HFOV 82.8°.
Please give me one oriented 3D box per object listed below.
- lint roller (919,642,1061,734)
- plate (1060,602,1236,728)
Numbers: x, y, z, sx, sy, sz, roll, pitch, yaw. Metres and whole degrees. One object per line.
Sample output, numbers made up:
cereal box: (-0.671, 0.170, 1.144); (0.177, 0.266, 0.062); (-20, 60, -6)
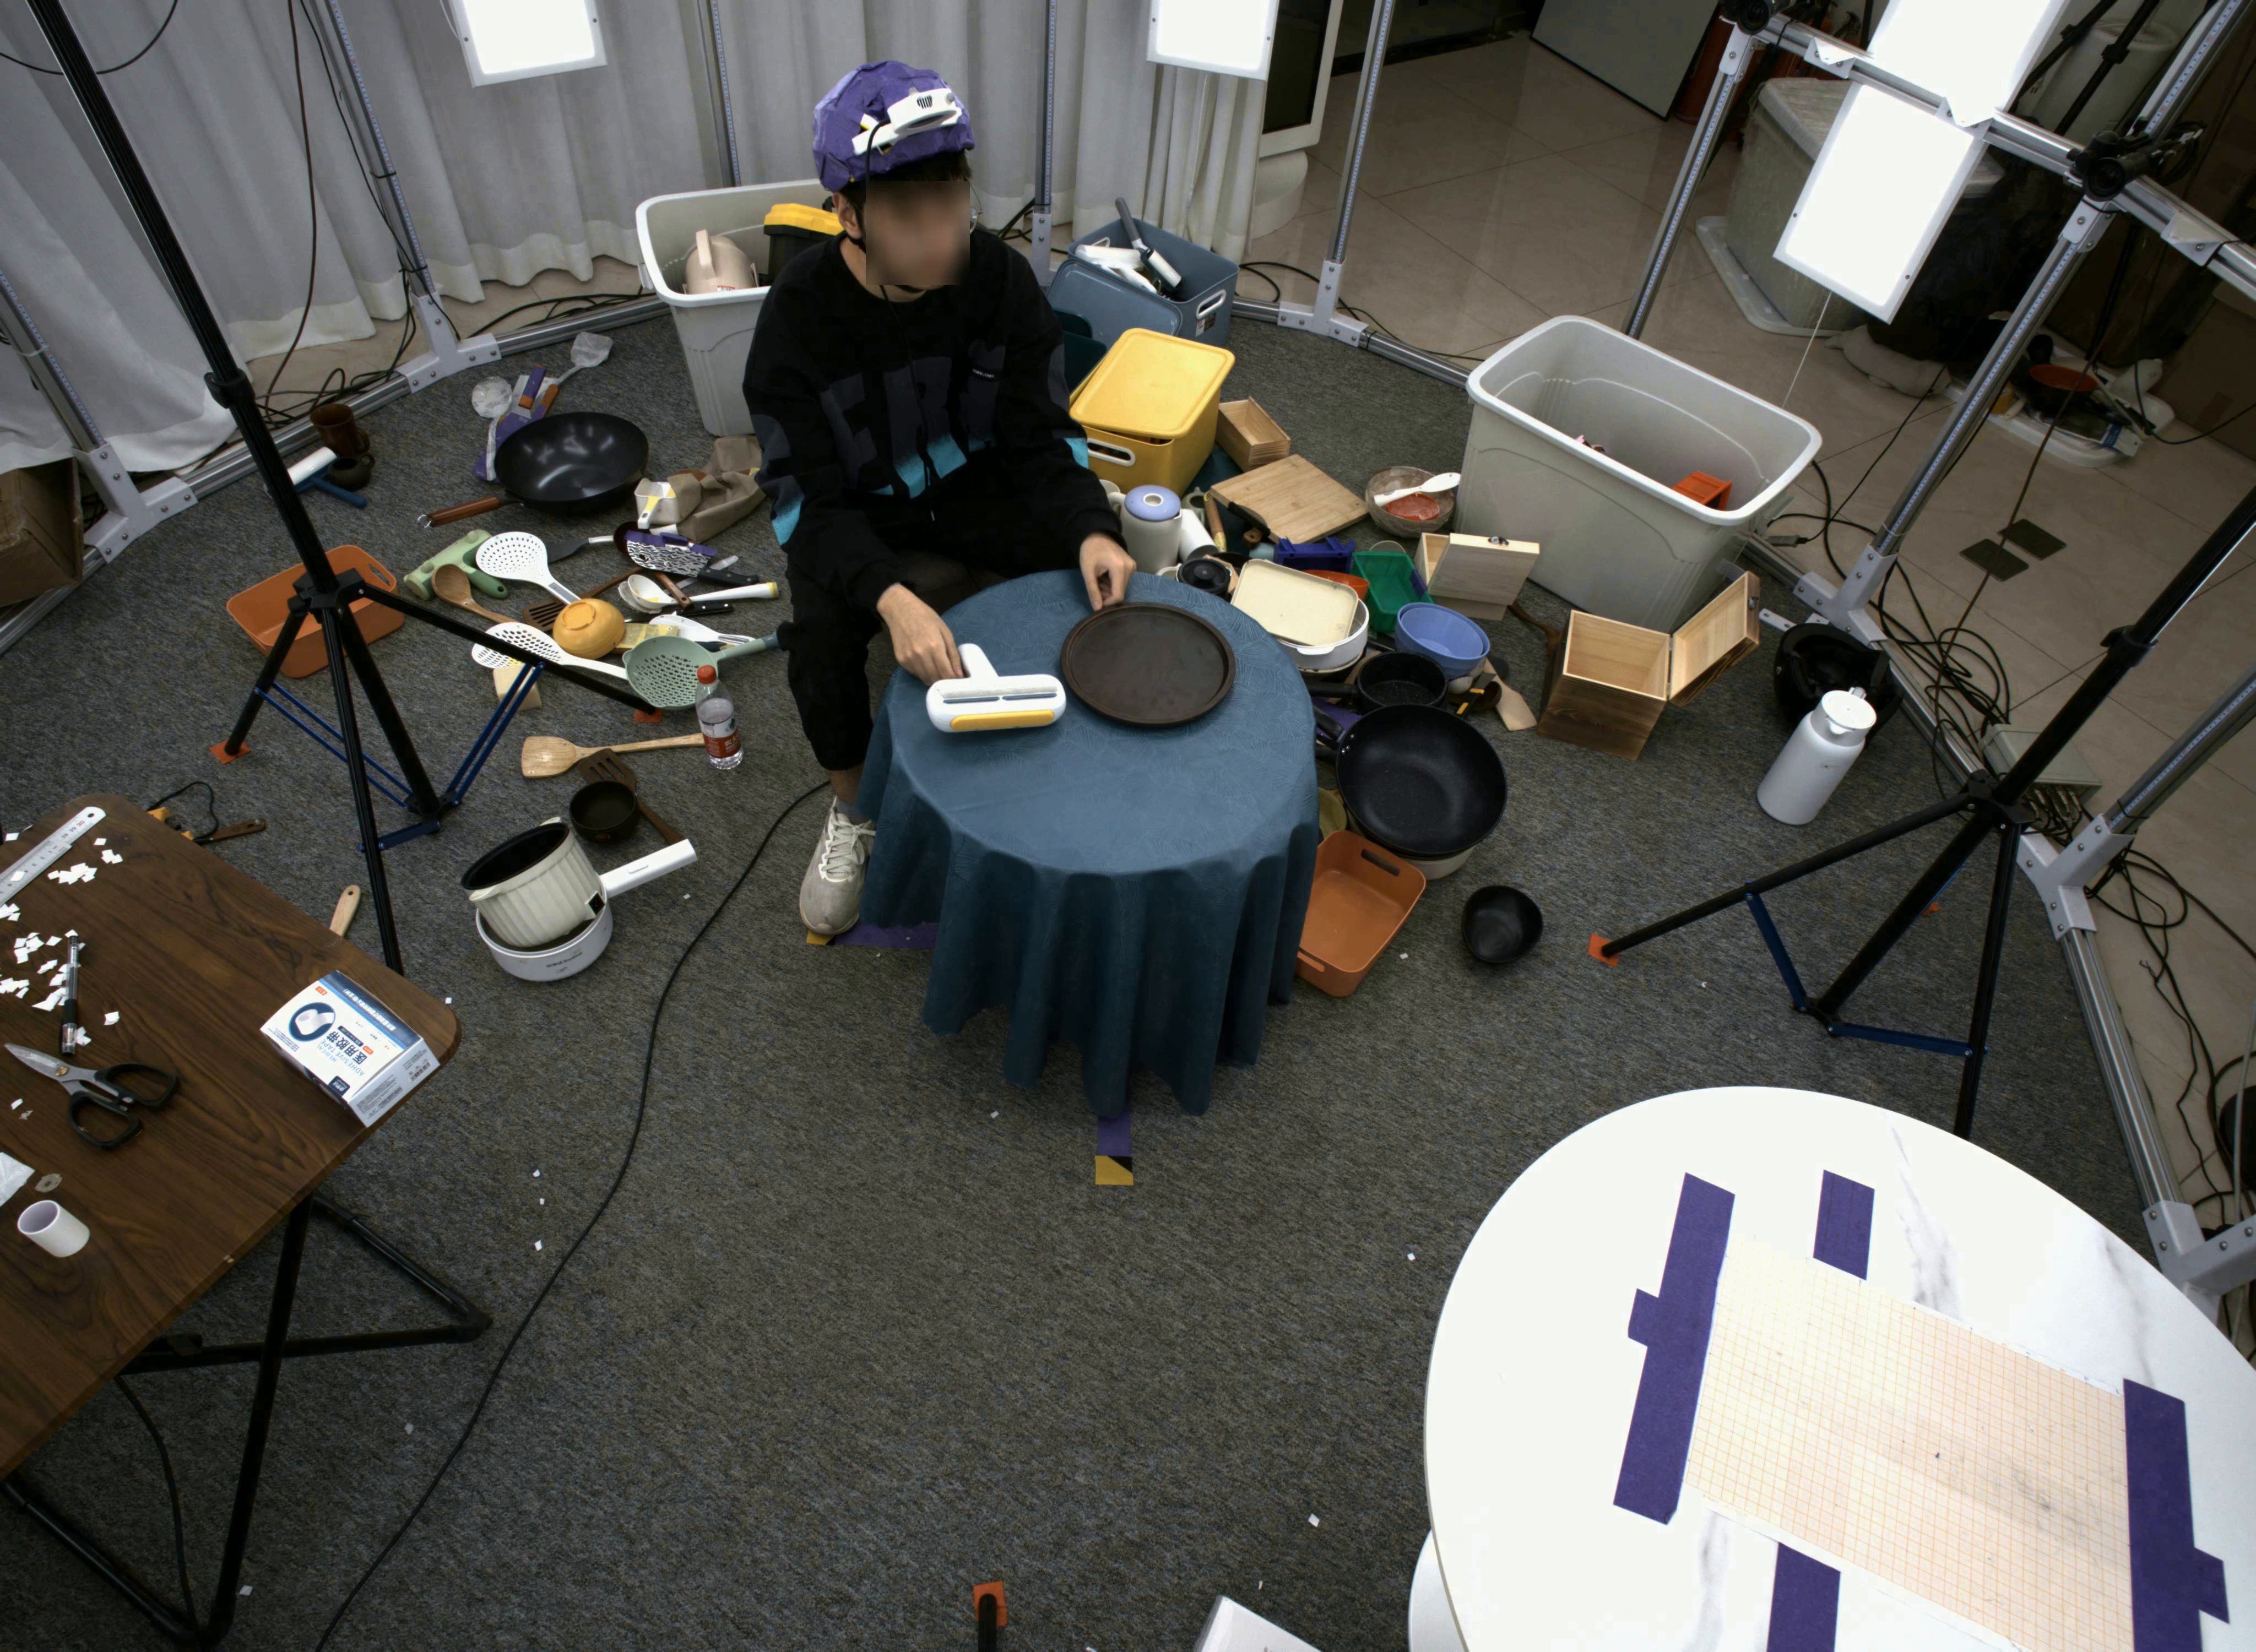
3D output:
lint roller: (-0.202, -0.204, 1.789); (0.192, 0.072, 0.197); (-6, 48, -15)
plate: (0.029, -0.234, 1.858); (0.254, 0.028, 0.261); (2, 48, -2)
